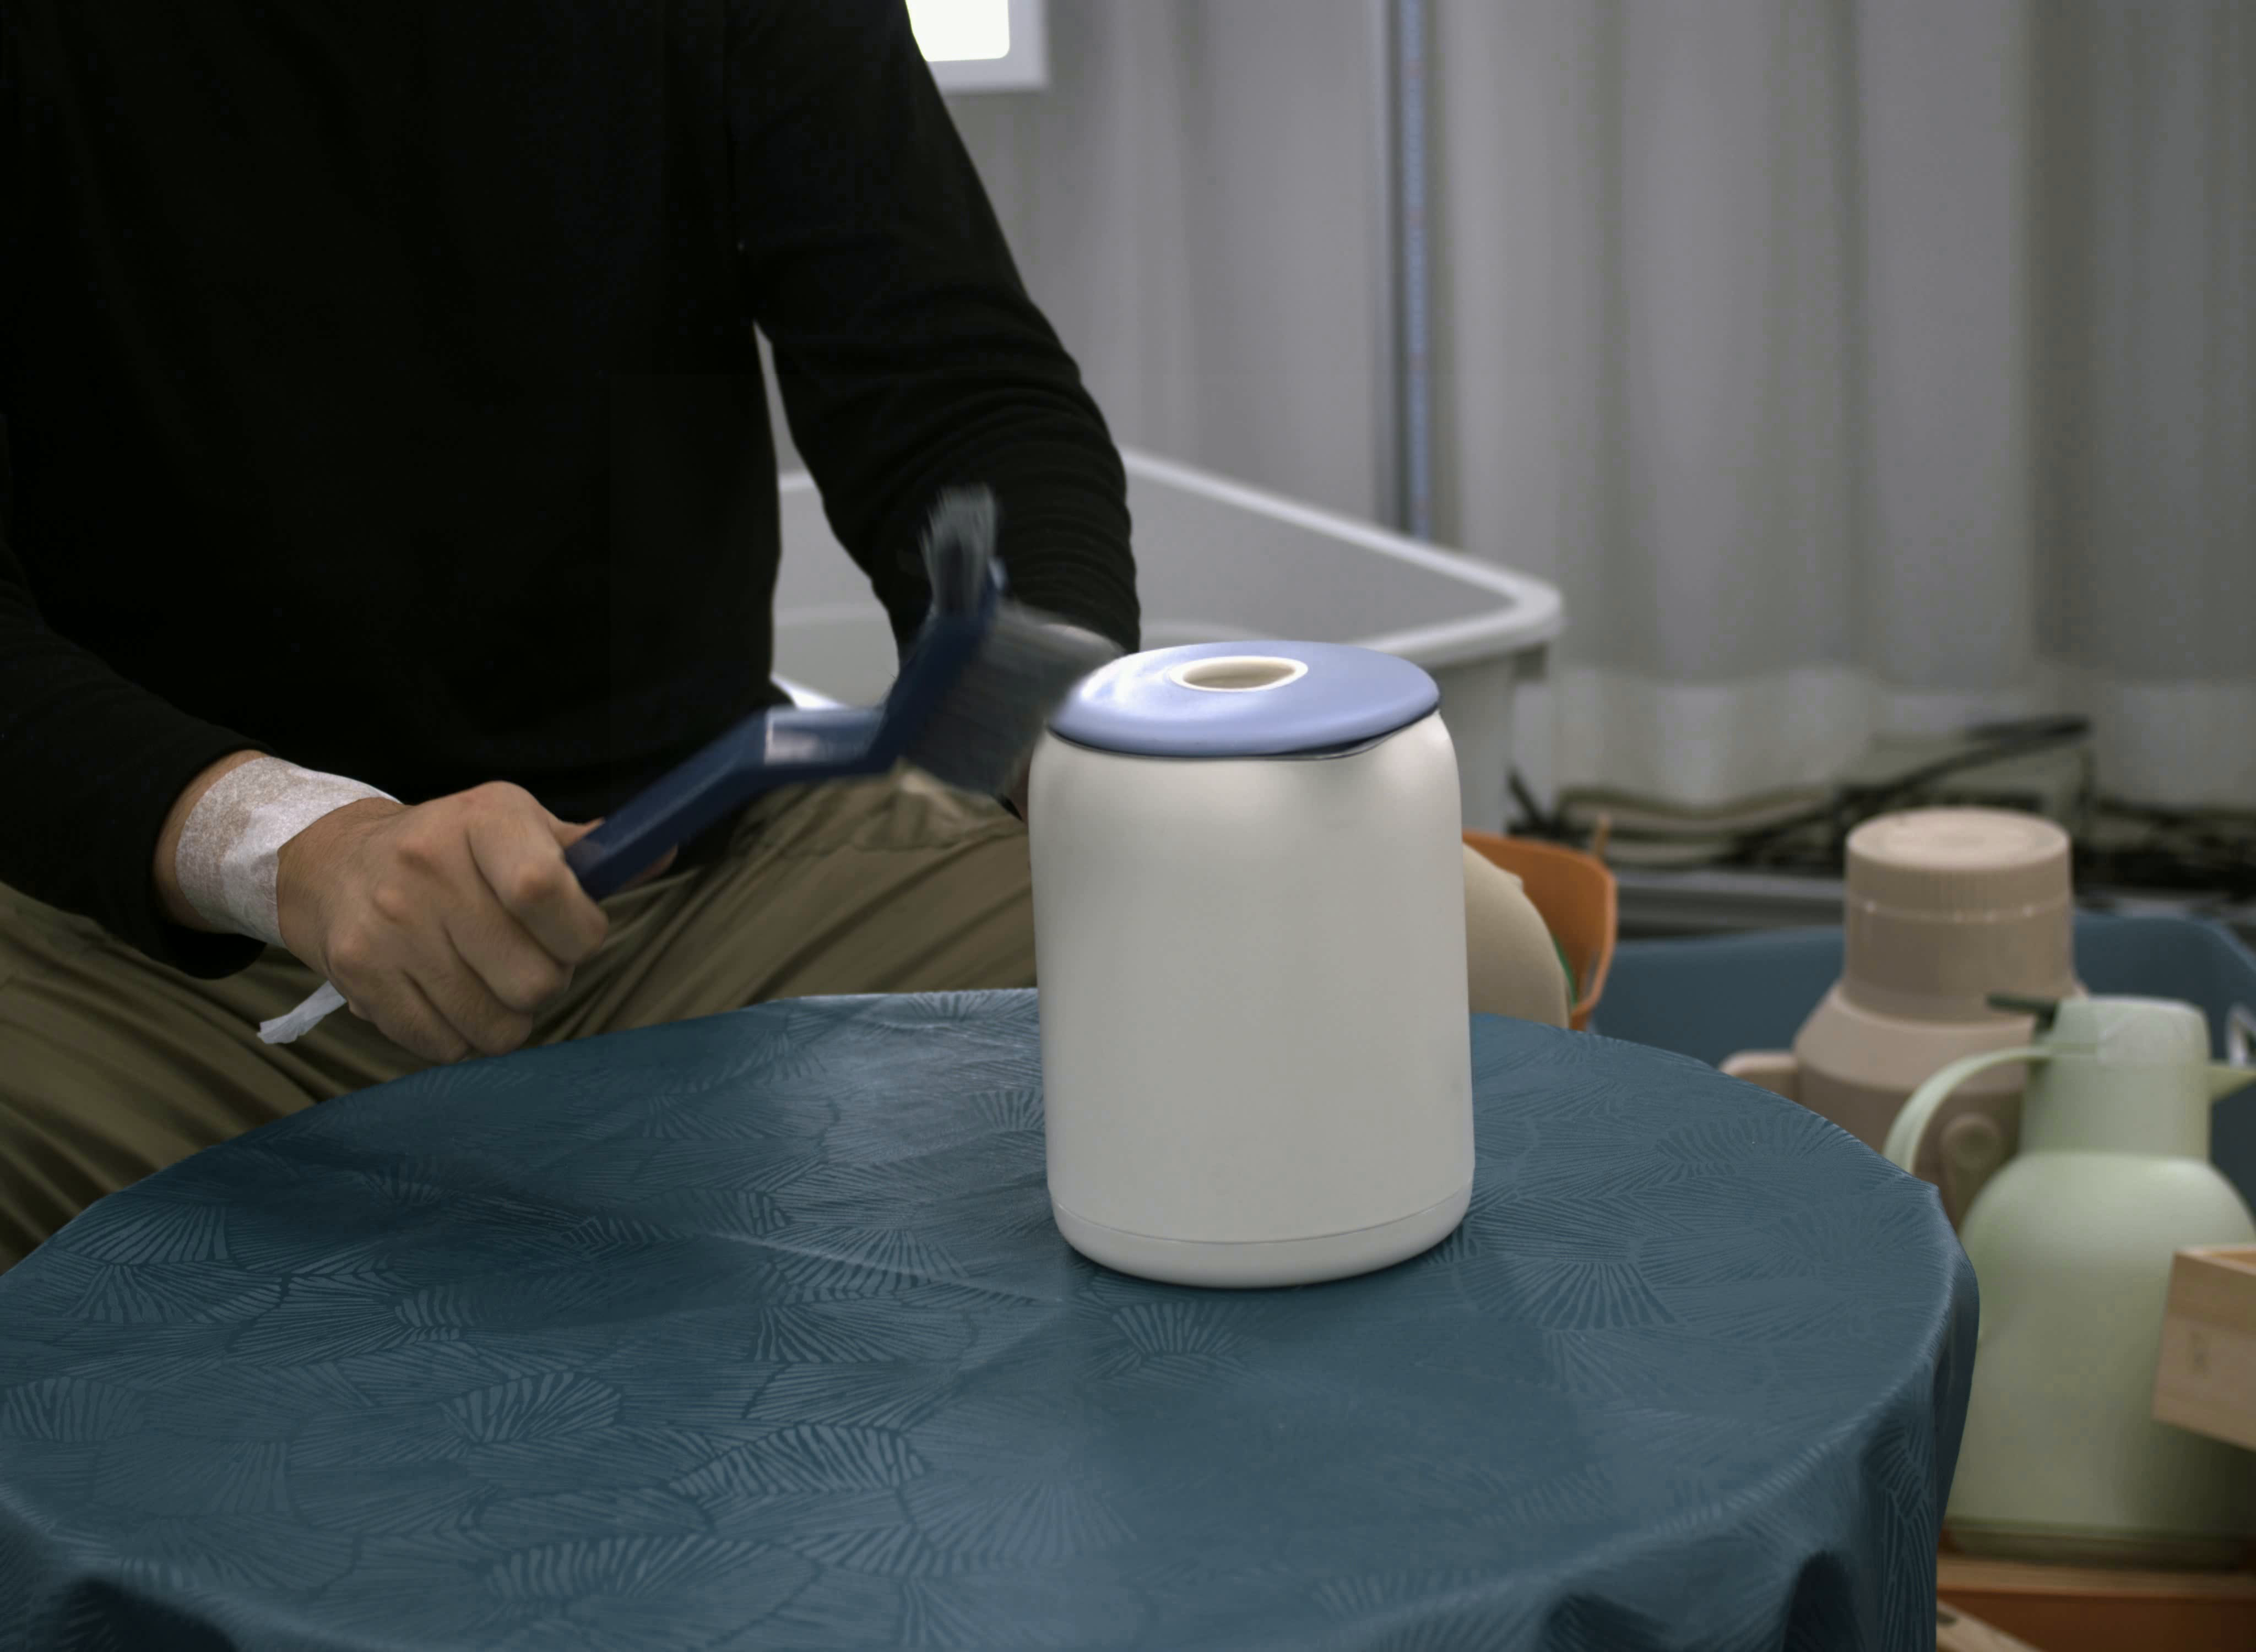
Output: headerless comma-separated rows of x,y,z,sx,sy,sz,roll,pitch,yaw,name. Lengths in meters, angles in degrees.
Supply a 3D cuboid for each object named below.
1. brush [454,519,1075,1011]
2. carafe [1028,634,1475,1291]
-0.124,-0.014,1.617,0.272,0.094,0.034,-23,38,35,brush
0.026,0.035,1.678,0.131,0.182,0.192,-9,14,-25,carafe
